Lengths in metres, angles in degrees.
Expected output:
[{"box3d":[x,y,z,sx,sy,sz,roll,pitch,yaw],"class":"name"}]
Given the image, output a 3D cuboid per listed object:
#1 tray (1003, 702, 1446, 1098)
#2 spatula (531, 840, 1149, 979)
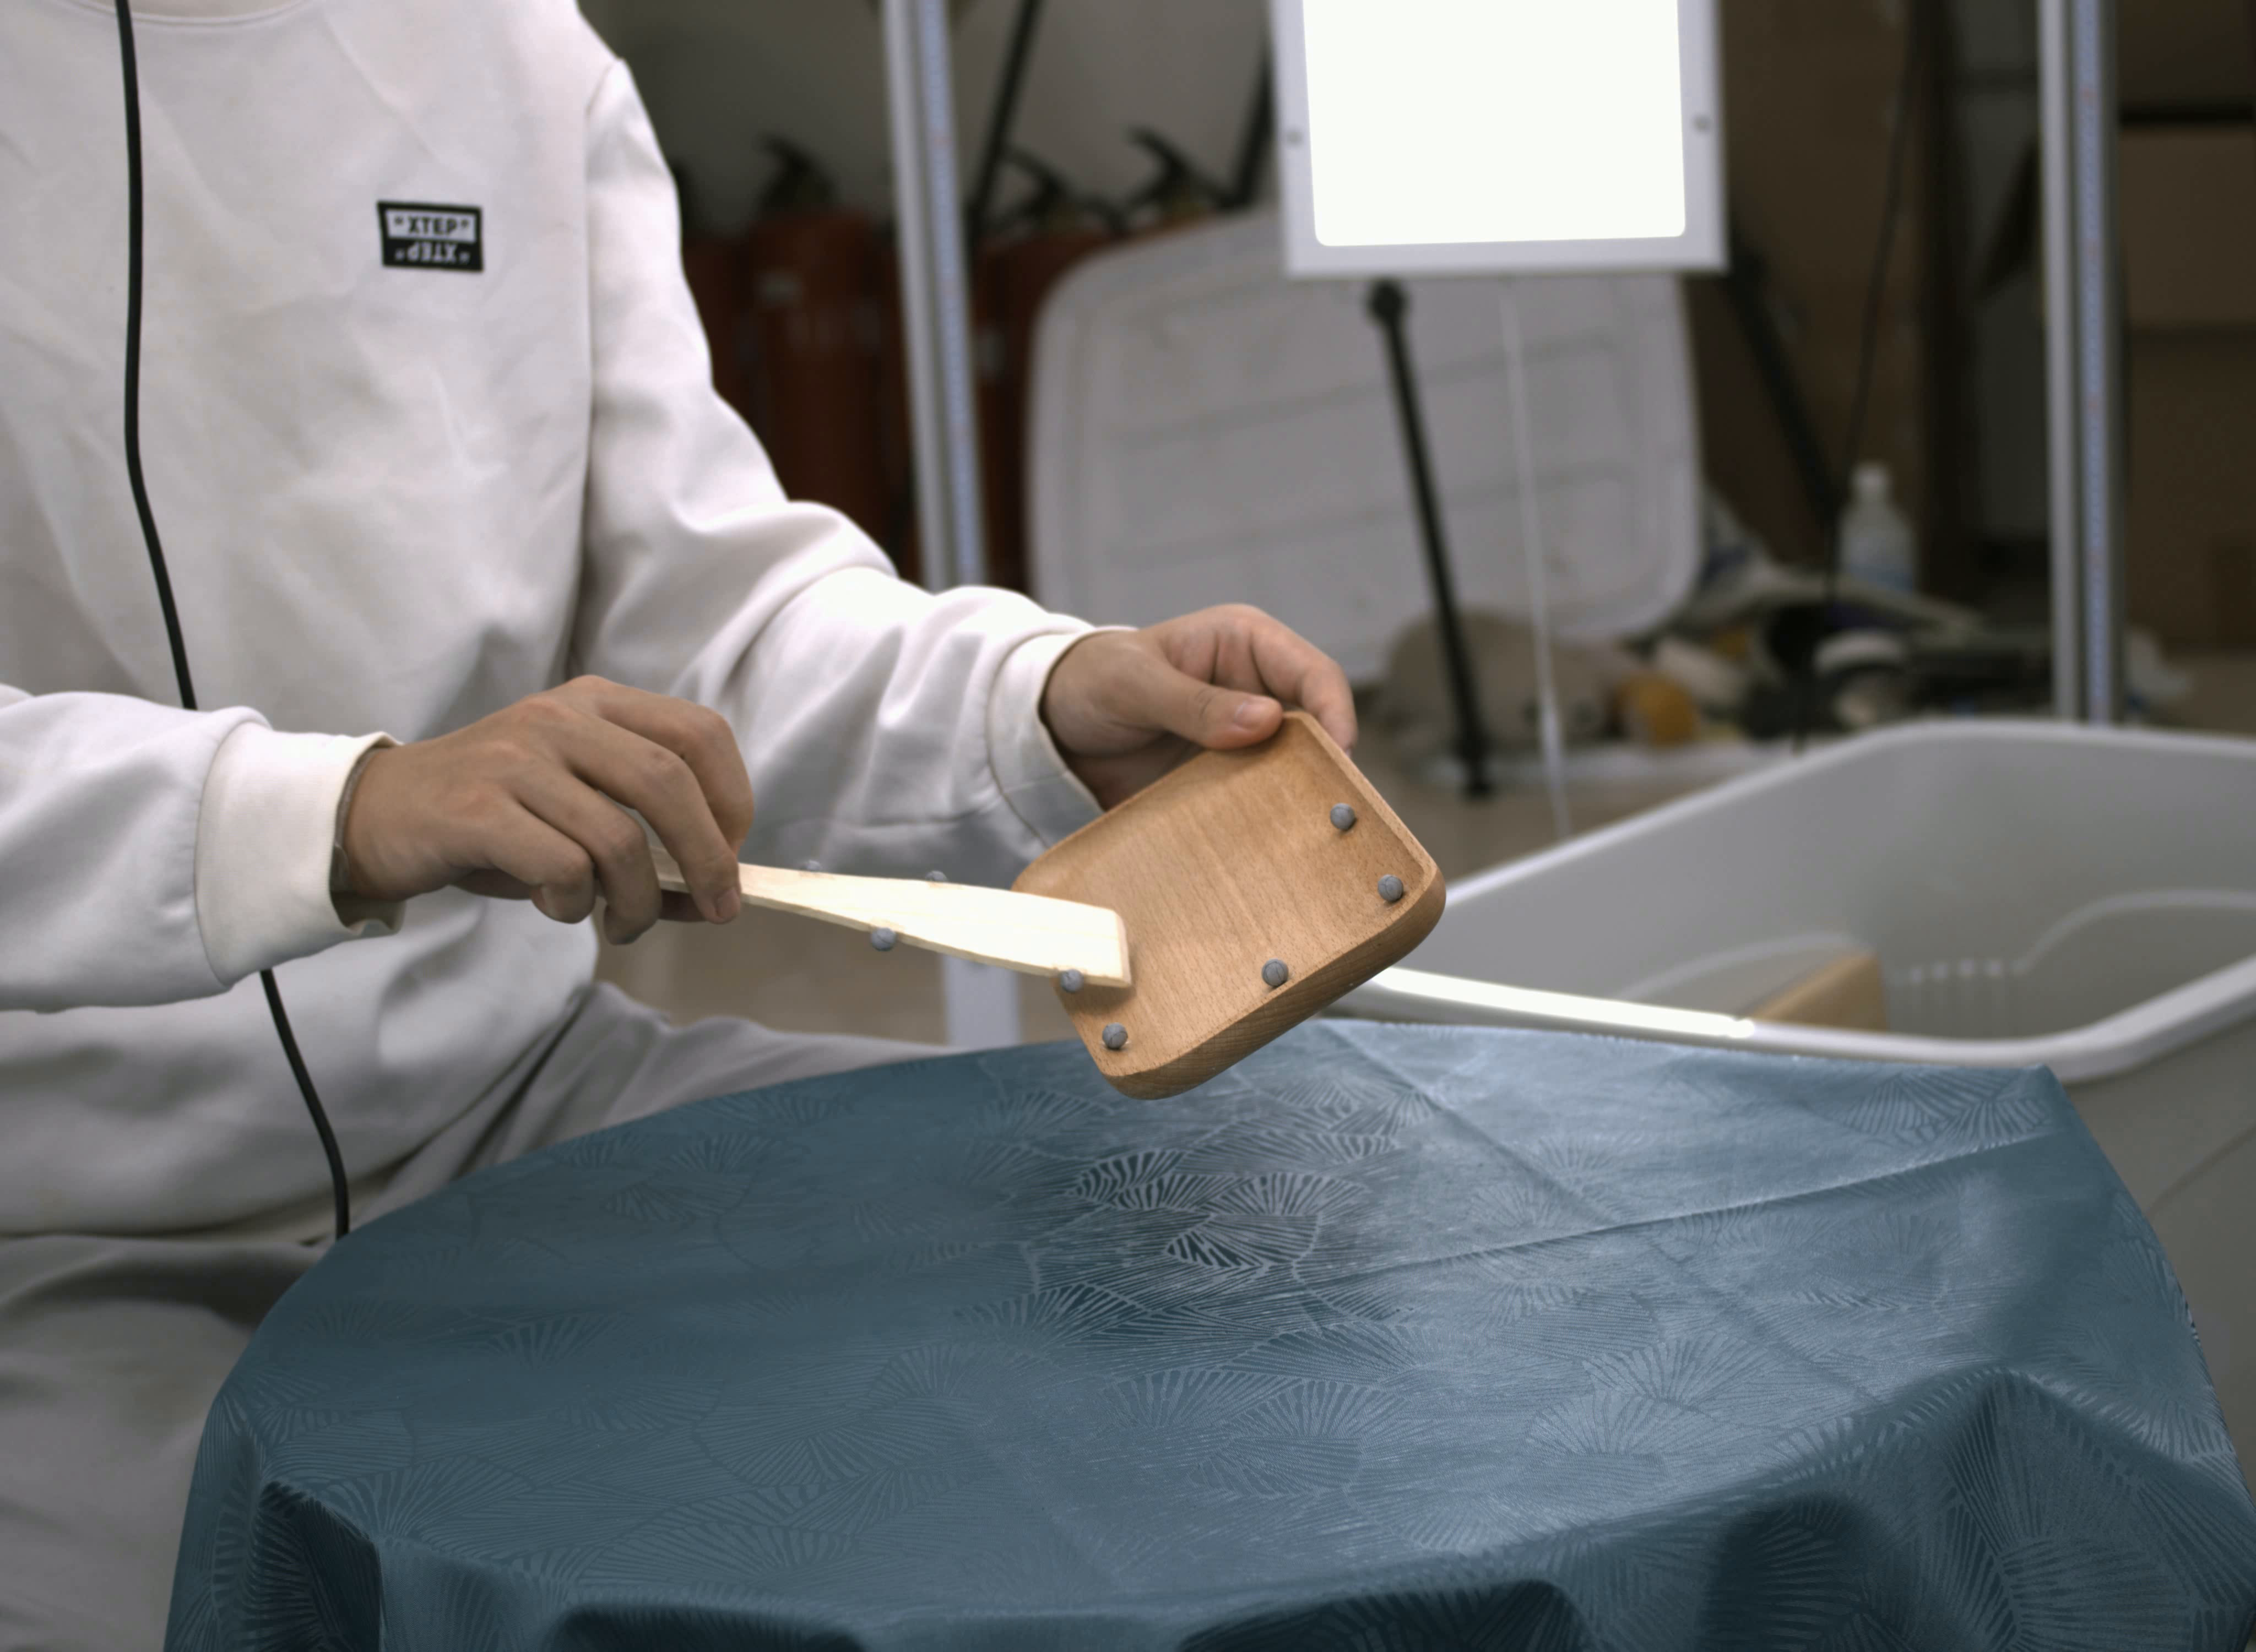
[{"box3d":[0.030,0.023,1.851,0.130,0.023,0.252,-30,18,0],"class":"tray"},{"box3d":[-0.095,0.025,1.823,0.206,0.005,0.050,9,24,-8],"class":"spatula"}]
